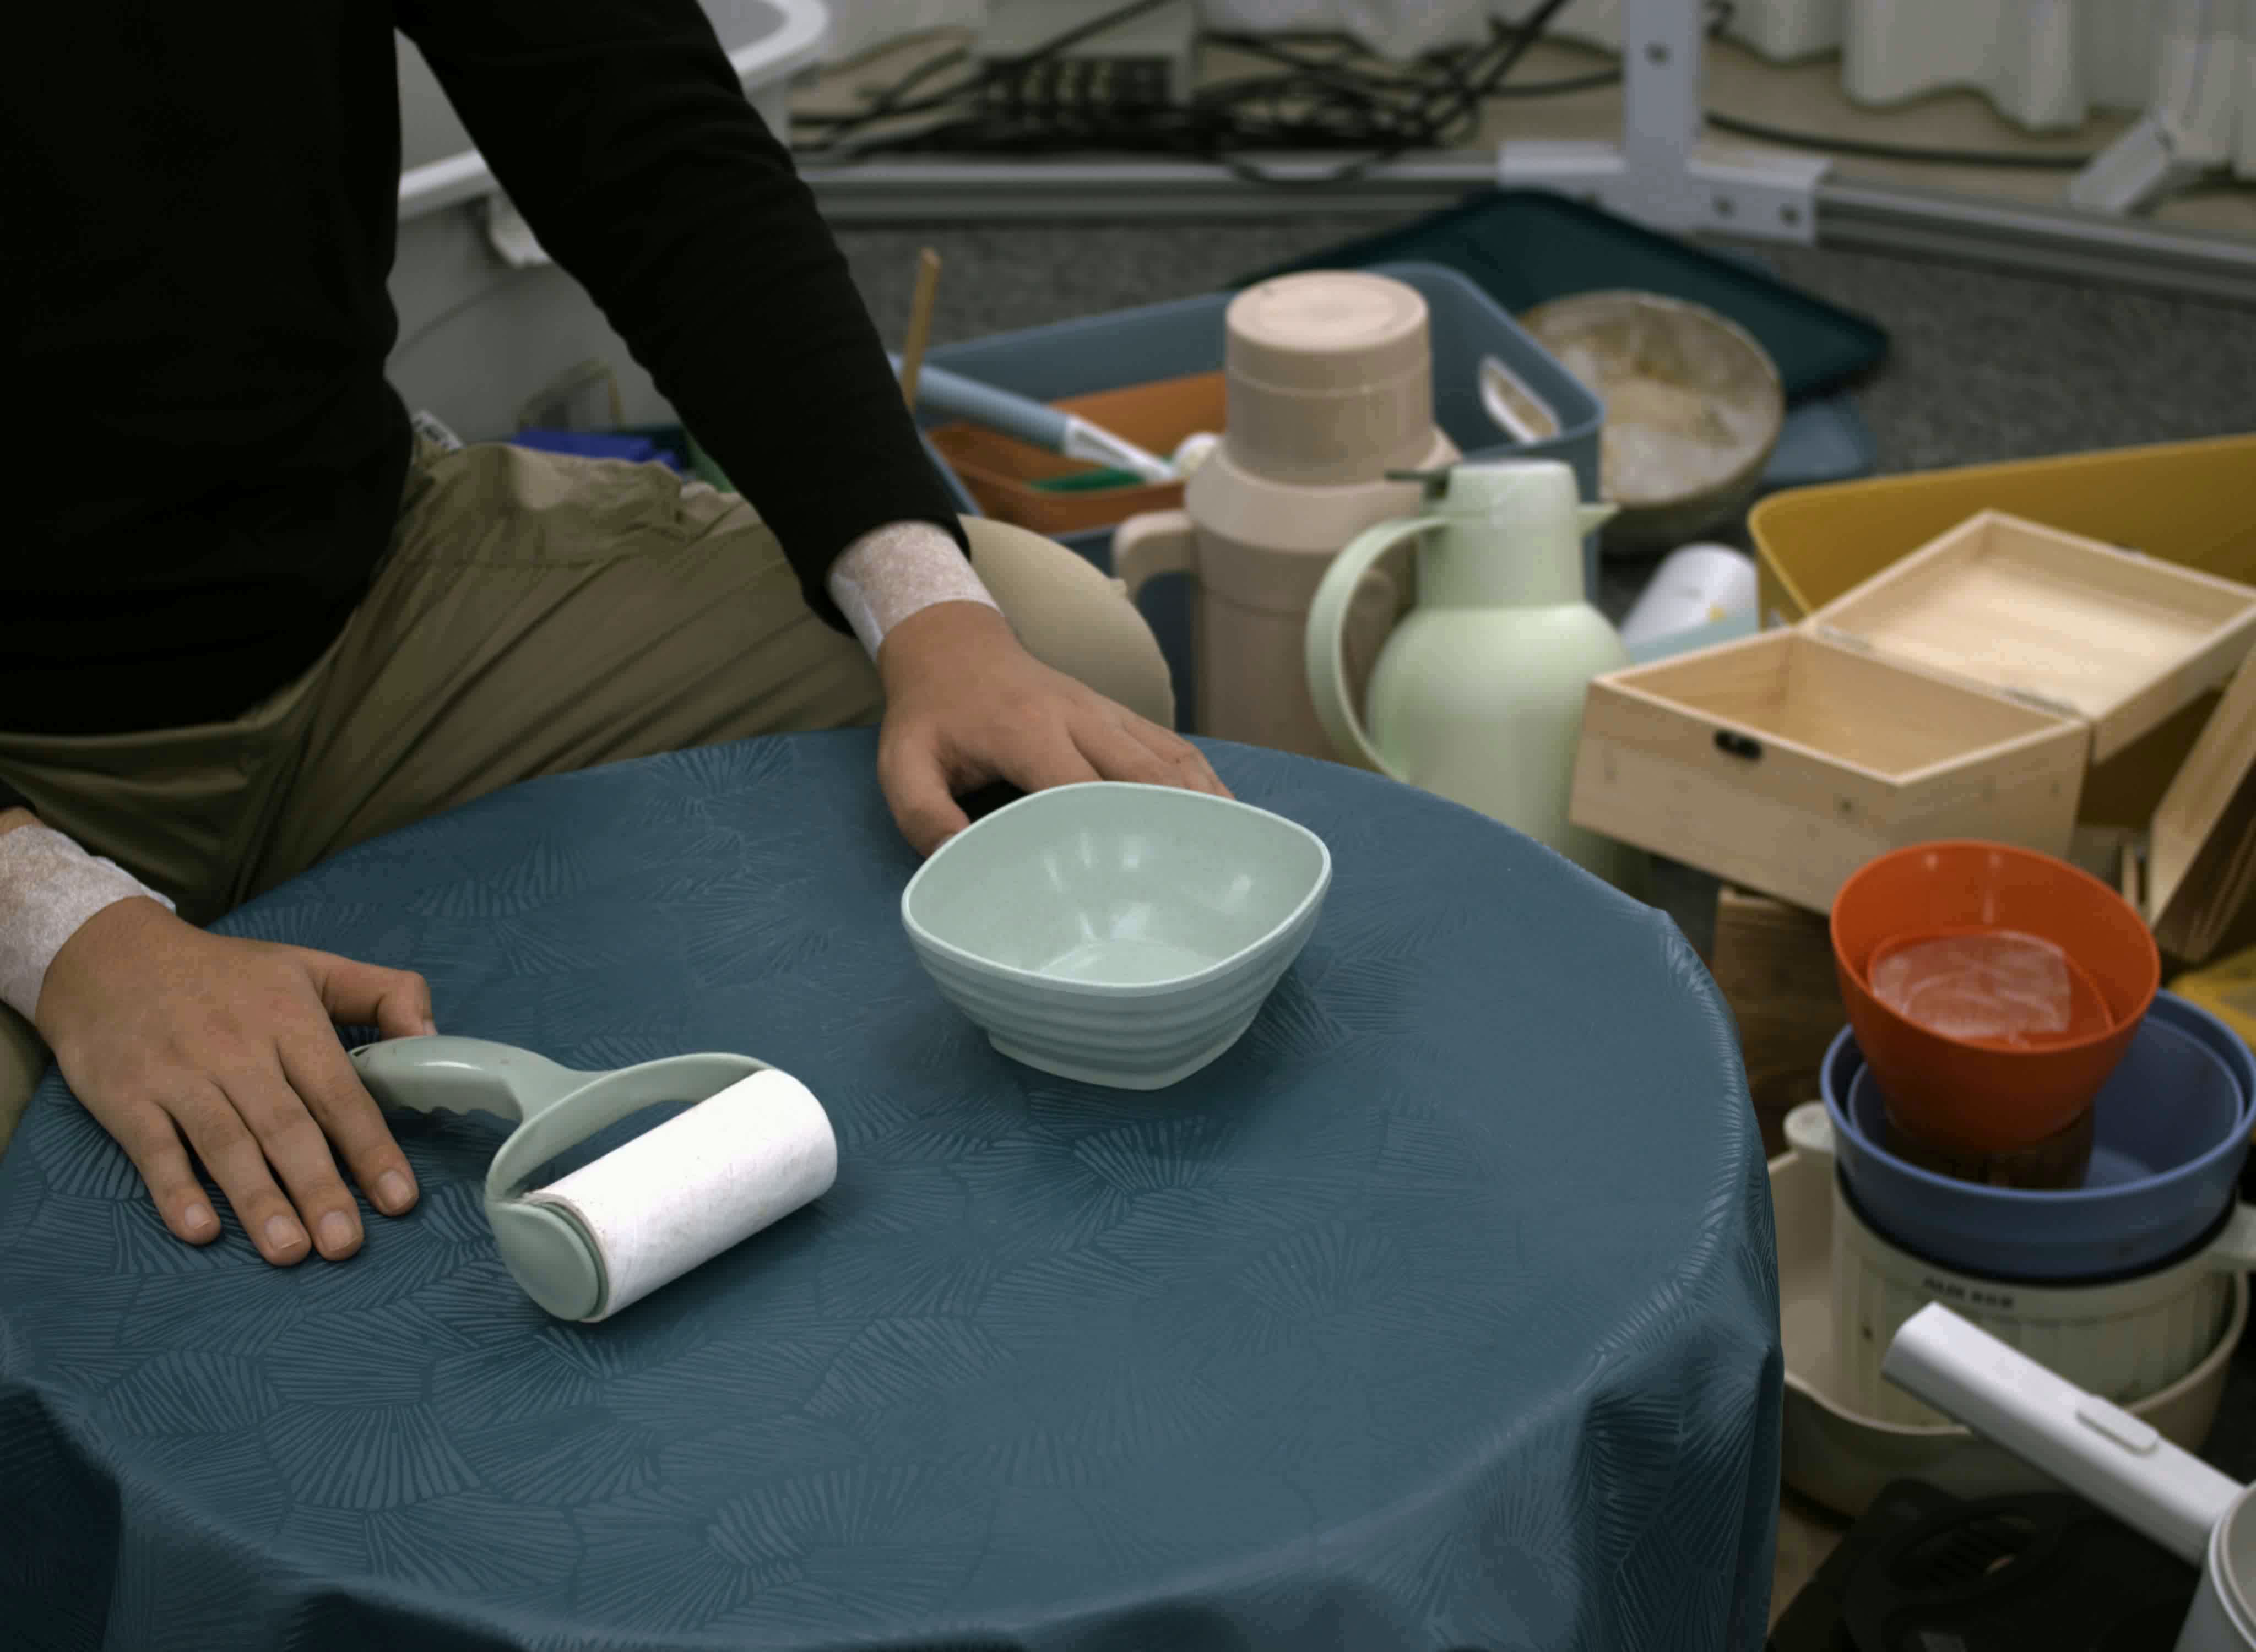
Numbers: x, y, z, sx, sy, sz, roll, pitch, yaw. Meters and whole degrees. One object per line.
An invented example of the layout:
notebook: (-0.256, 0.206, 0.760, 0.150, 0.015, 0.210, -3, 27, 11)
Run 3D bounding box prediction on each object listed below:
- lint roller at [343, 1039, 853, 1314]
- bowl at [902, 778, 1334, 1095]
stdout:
lint roller: (-0.194, 0.098, 1.879, 0.197, 0.048, 0.118, 20, 37, 39)
bowl: (-0.002, 0.044, 1.951, 0.151, 0.058, 0.154, -2, 29, 1)
